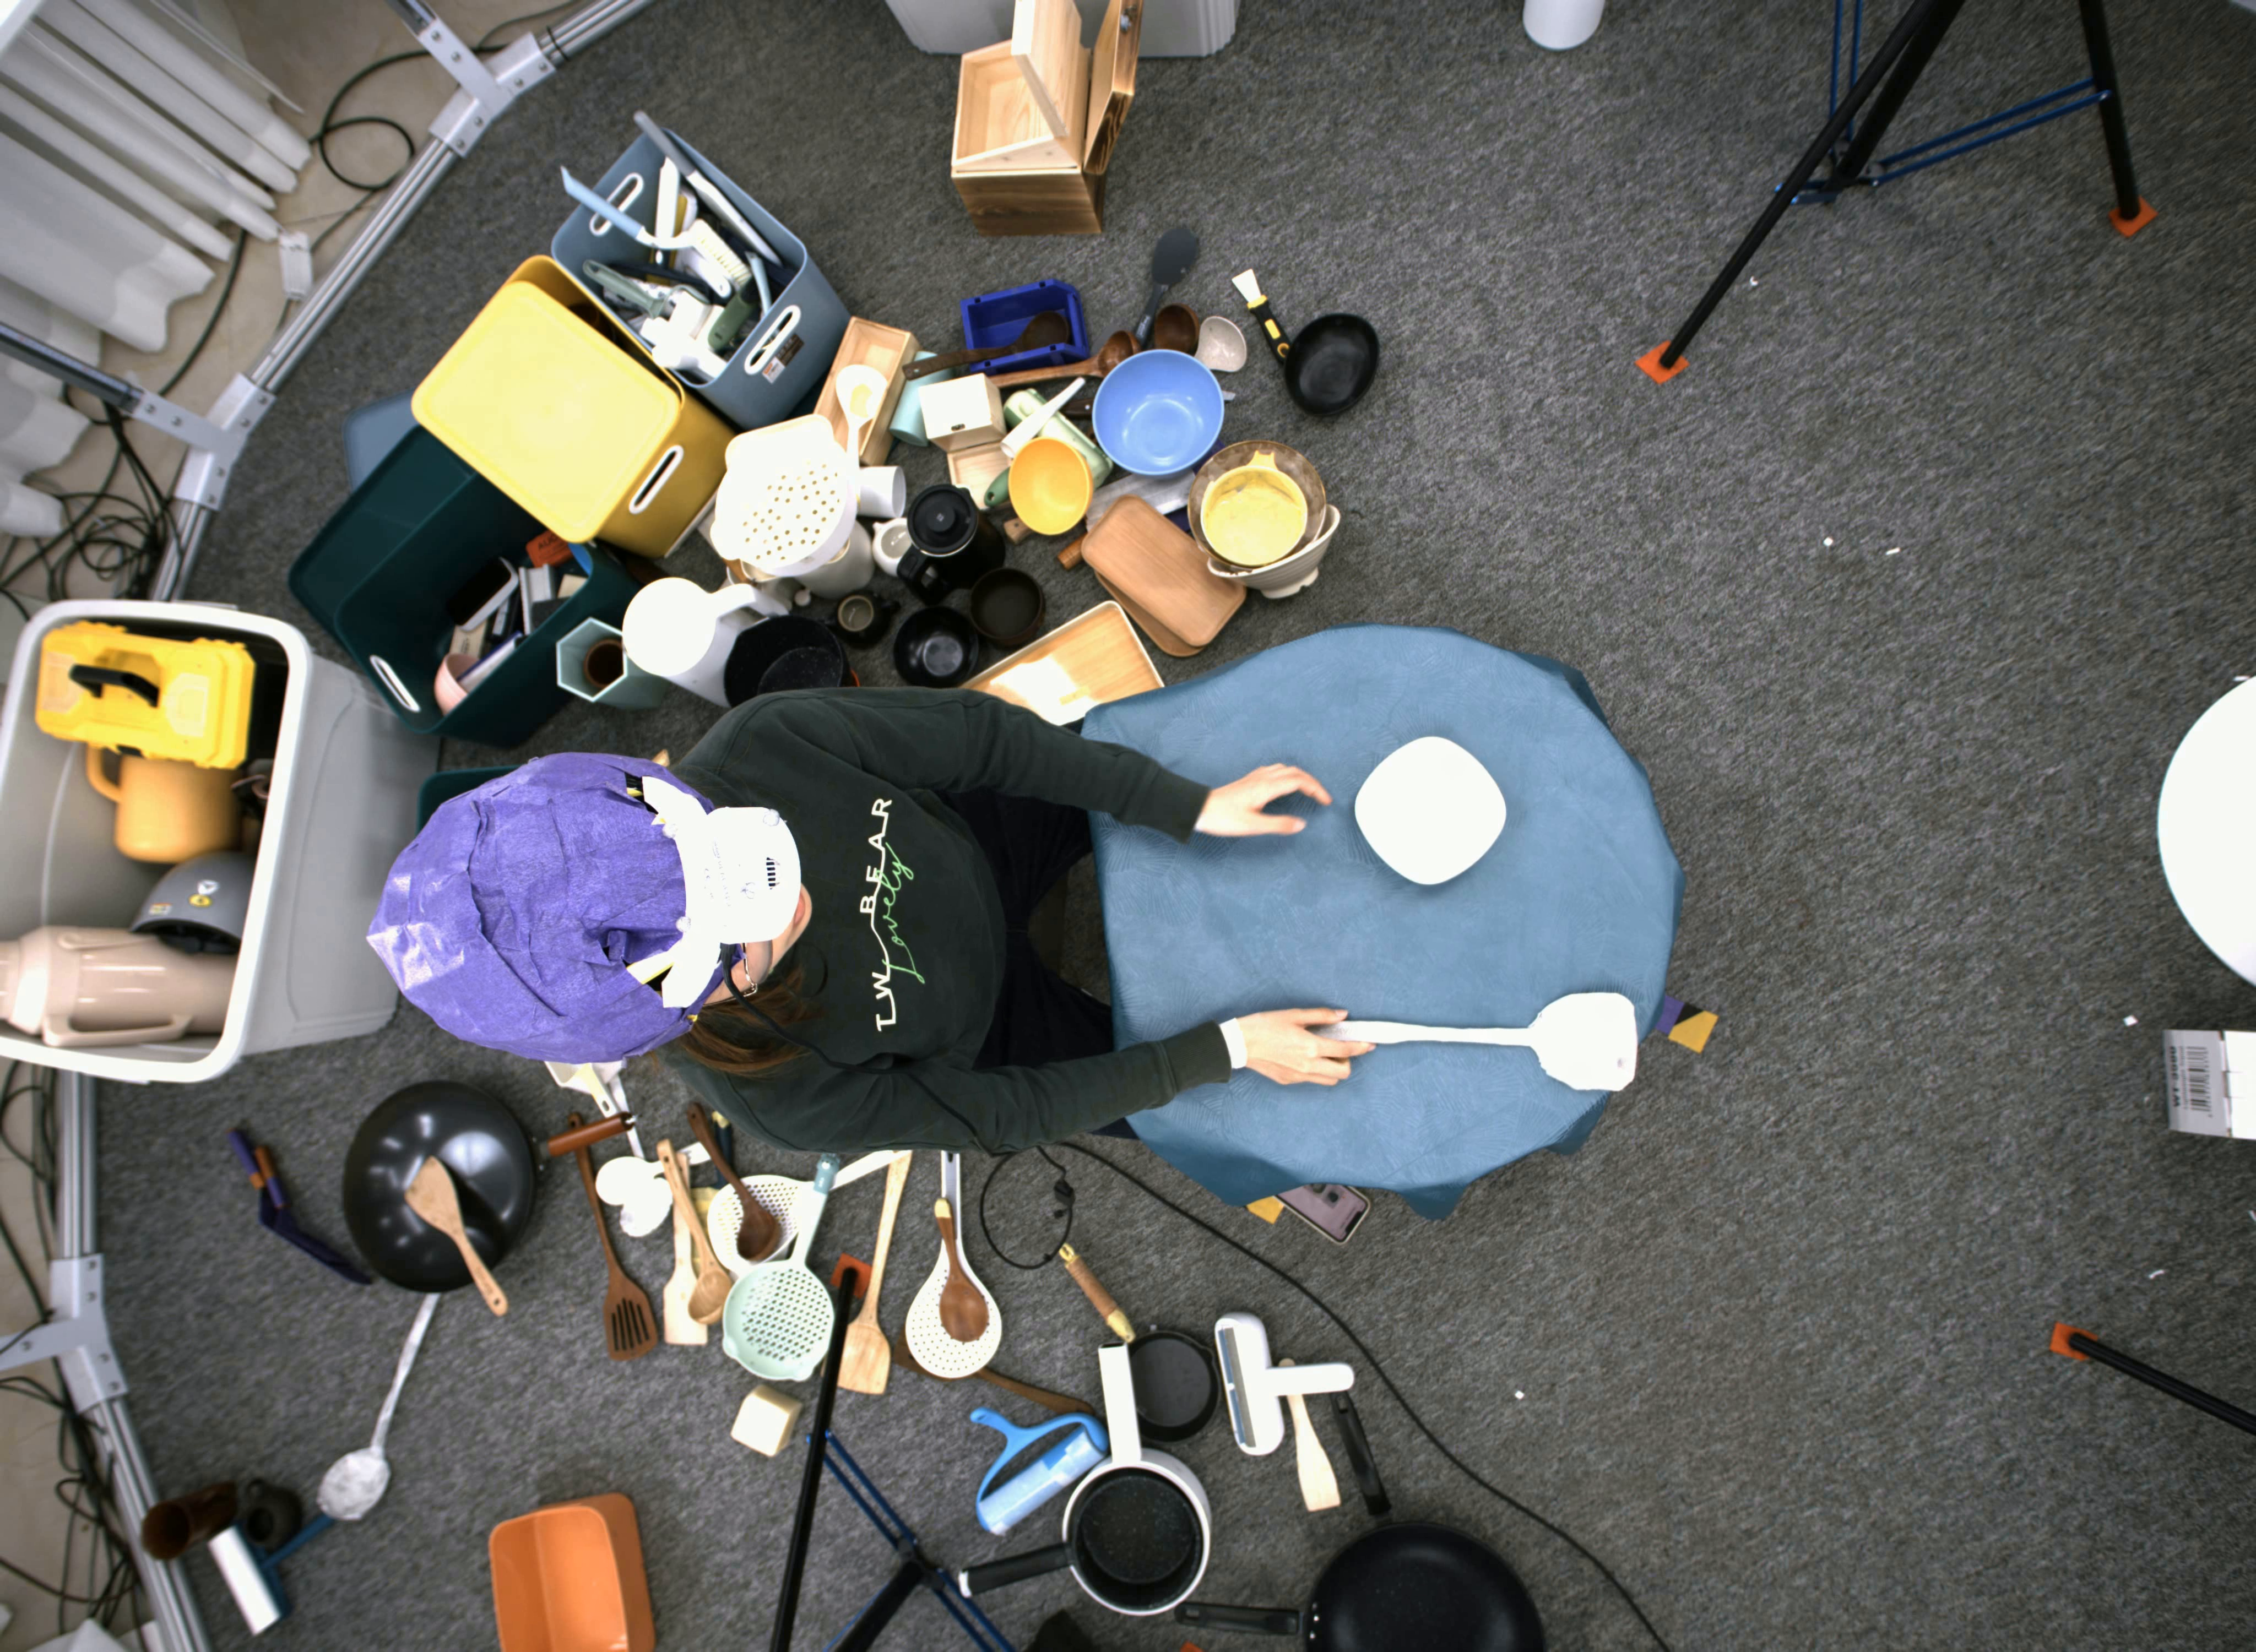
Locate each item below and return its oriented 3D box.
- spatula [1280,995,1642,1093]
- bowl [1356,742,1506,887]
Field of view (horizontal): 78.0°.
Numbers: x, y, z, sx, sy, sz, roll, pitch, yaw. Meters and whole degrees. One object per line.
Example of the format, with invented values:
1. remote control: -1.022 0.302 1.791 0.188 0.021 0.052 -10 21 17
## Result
1. spatula: 0.337 0.212 1.423 0.366 0.045 0.098 2 88 10
2. bowl: 0.314 -0.010 1.436 0.152 0.059 0.150 -1 84 9
